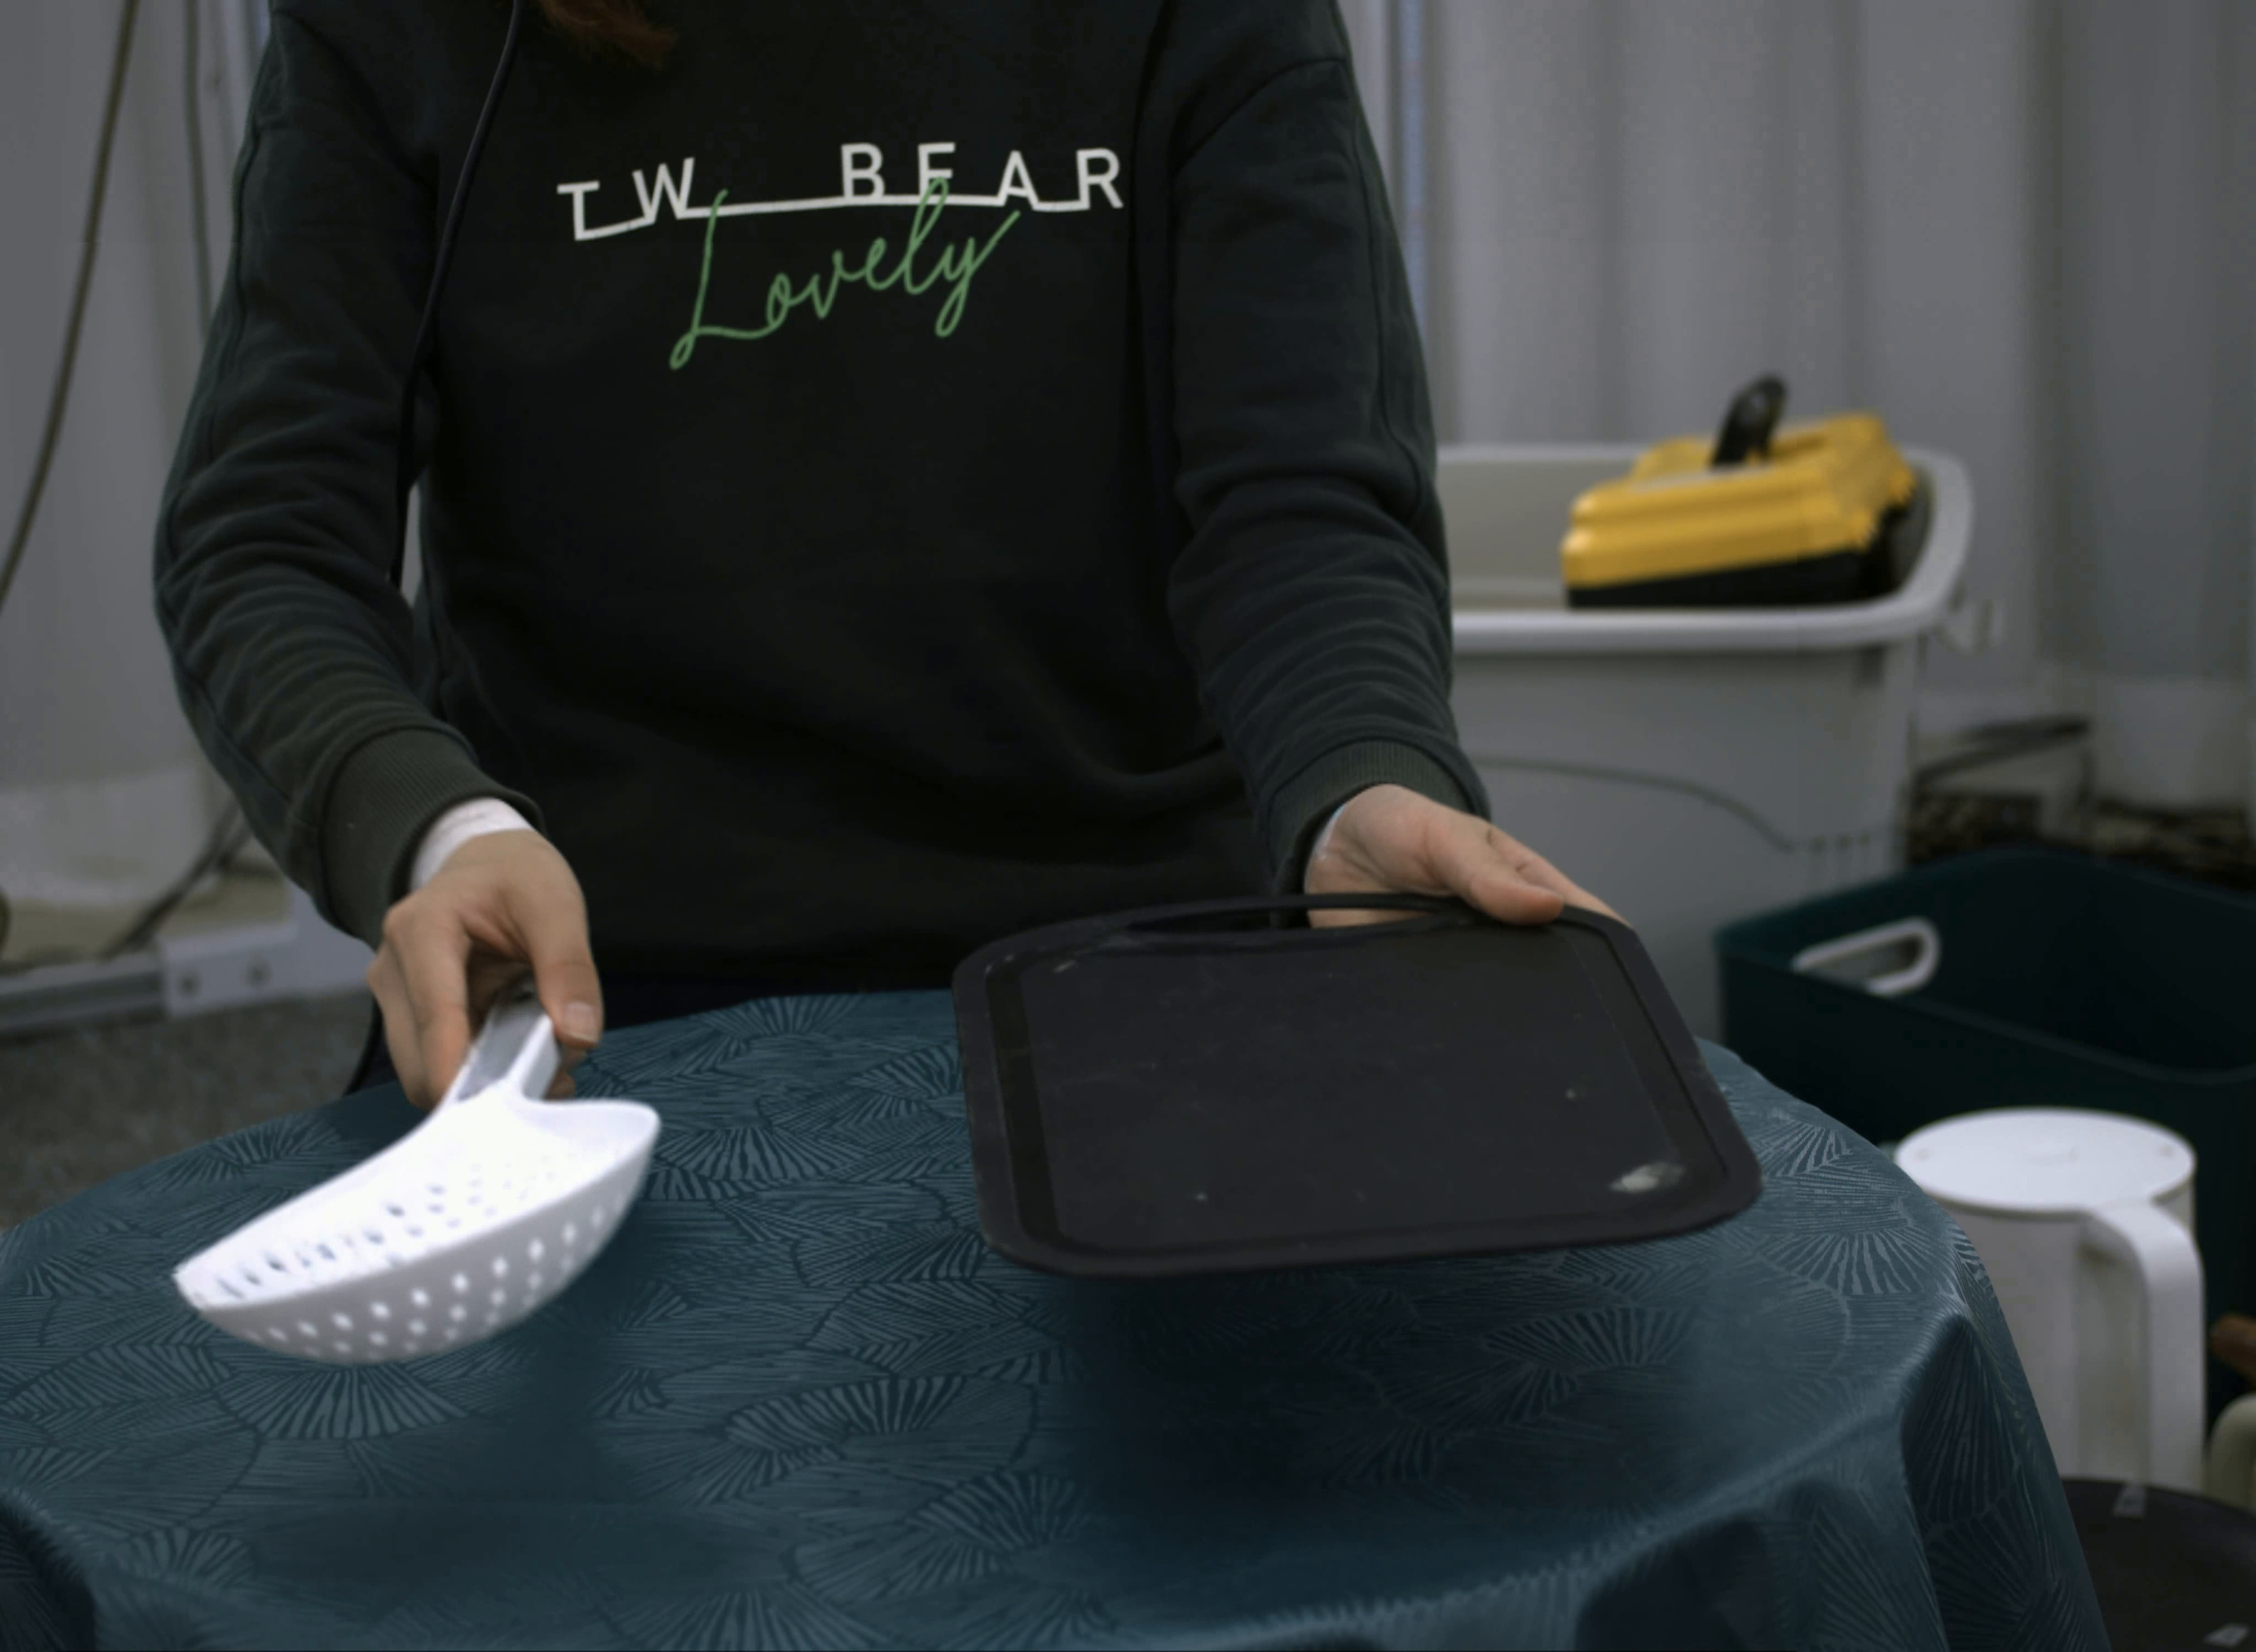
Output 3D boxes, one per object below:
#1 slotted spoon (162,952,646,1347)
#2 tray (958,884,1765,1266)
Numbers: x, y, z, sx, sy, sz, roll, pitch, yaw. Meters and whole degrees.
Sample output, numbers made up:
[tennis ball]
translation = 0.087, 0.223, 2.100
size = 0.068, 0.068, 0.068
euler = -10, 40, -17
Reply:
[slotted spoon]
translation = -0.188, 0.083, 1.564
size = 0.135, 0.045, 0.352
euler = -18, 15, 4
[tray]
translation = 0.058, 0.064, 1.561
size = 0.210, 0.010, 0.328
euler = -3, 16, -2
